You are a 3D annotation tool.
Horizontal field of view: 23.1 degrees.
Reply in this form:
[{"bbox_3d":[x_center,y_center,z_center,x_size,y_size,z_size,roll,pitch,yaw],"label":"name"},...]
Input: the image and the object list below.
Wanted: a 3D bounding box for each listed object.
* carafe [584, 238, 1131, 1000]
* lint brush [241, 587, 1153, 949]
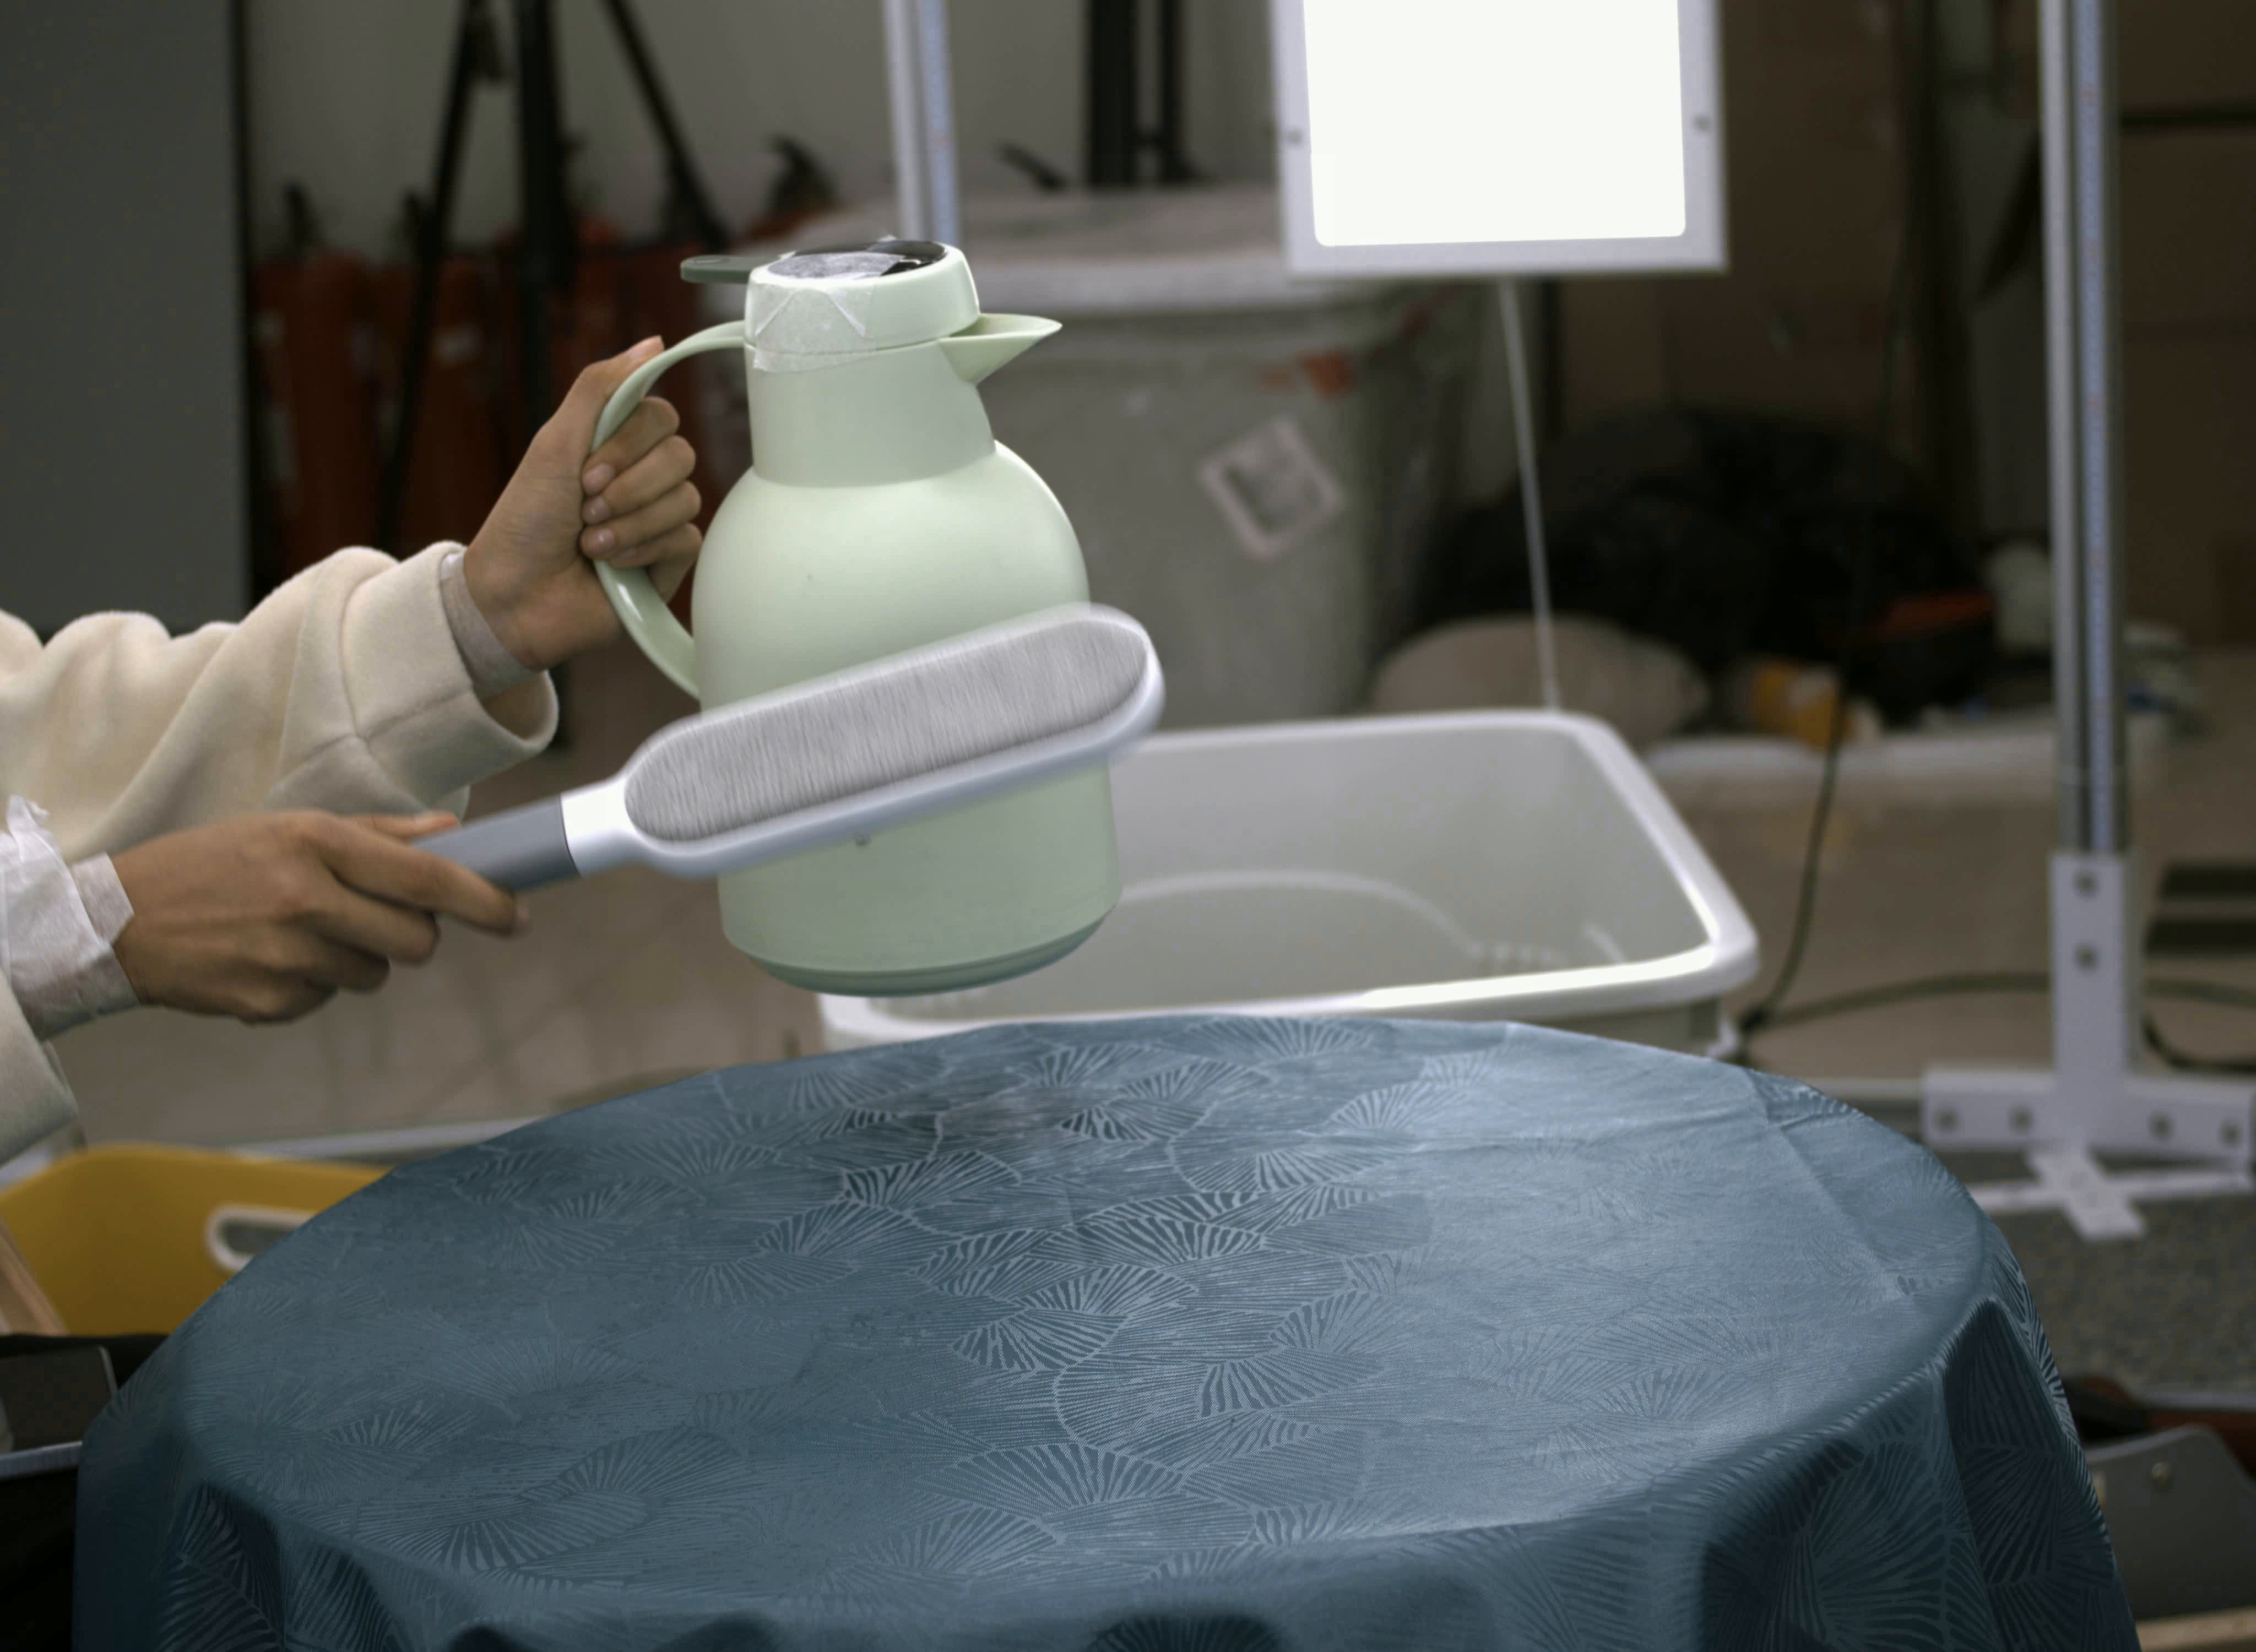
[{"bbox_3d":[-0.097,-0.077,1.953,0.190,0.257,0.141,-2,19,24],"label":"carafe"},{"bbox_3d":[-0.139,-0.015,1.766,0.310,0.021,0.060,-17,51,7],"label":"lint brush"}]
